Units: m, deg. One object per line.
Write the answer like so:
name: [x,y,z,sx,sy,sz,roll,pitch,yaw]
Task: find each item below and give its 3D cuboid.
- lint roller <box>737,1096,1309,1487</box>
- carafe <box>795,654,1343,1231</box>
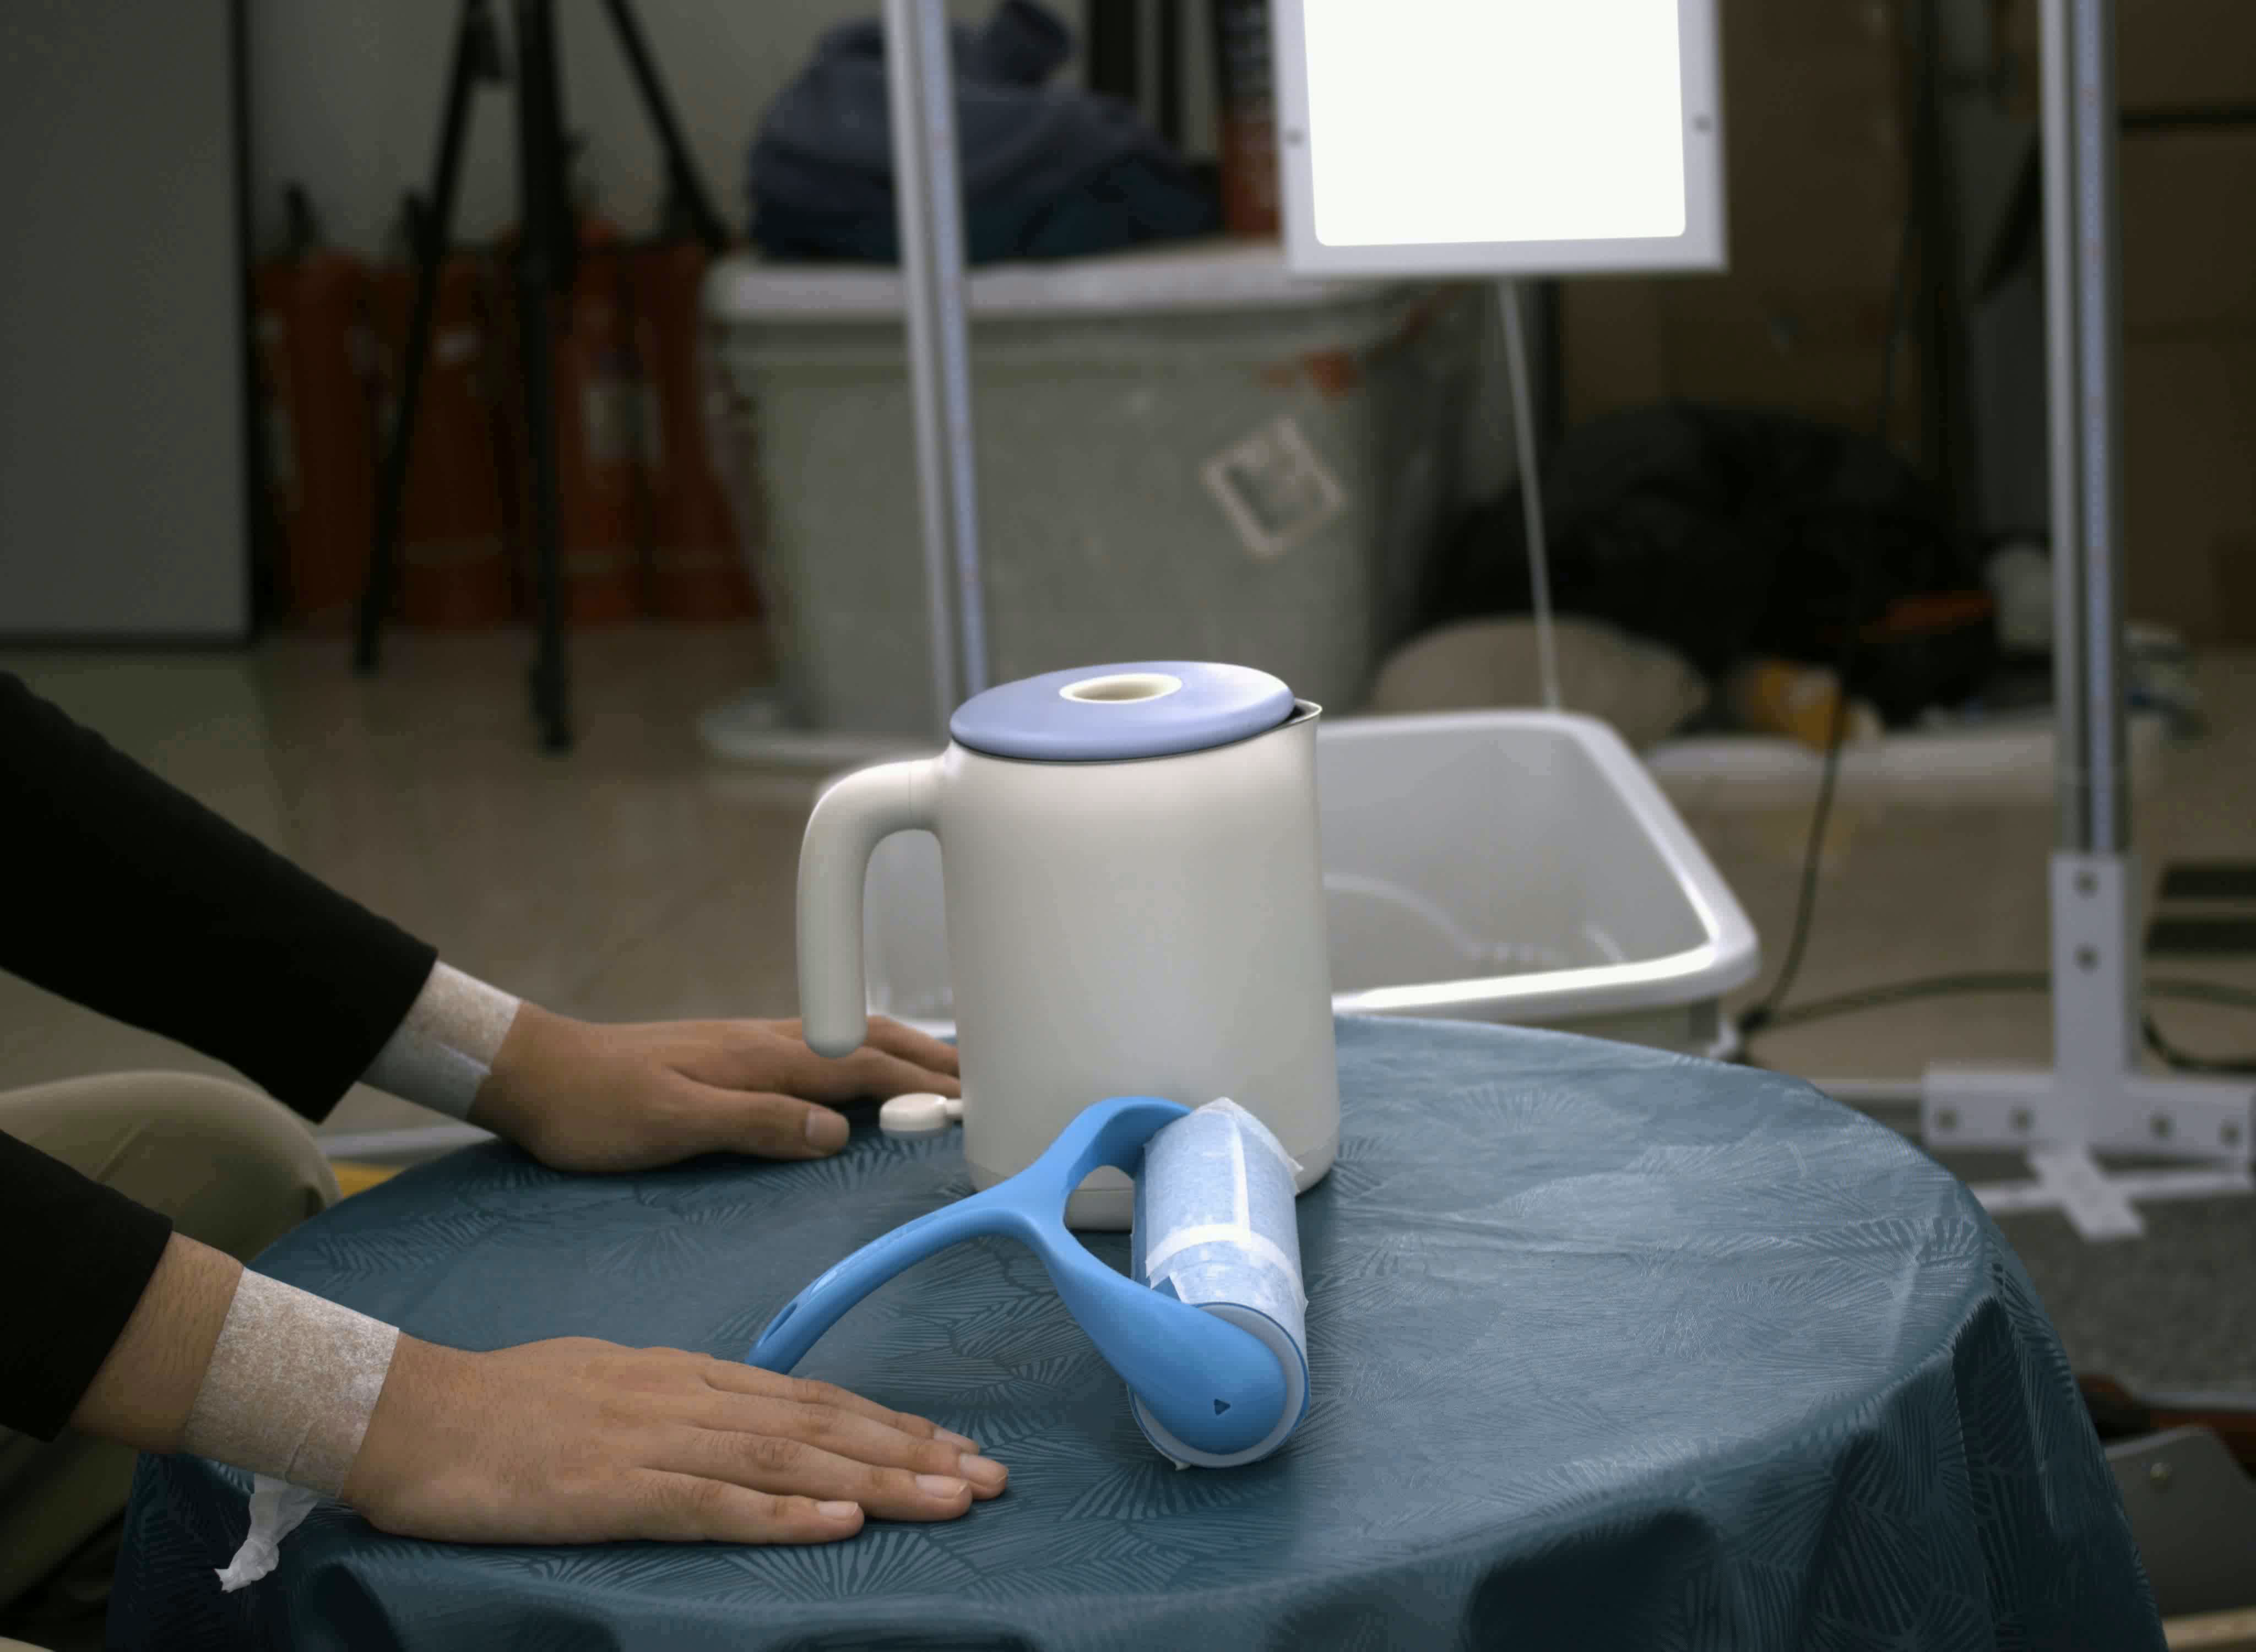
lint roller: [-0.032,0.143,1.717,0.180,0.068,0.228,0,17,-1]
carafe: [-0.021,0.041,1.892,0.191,0.183,0.131,-5,13,6]
